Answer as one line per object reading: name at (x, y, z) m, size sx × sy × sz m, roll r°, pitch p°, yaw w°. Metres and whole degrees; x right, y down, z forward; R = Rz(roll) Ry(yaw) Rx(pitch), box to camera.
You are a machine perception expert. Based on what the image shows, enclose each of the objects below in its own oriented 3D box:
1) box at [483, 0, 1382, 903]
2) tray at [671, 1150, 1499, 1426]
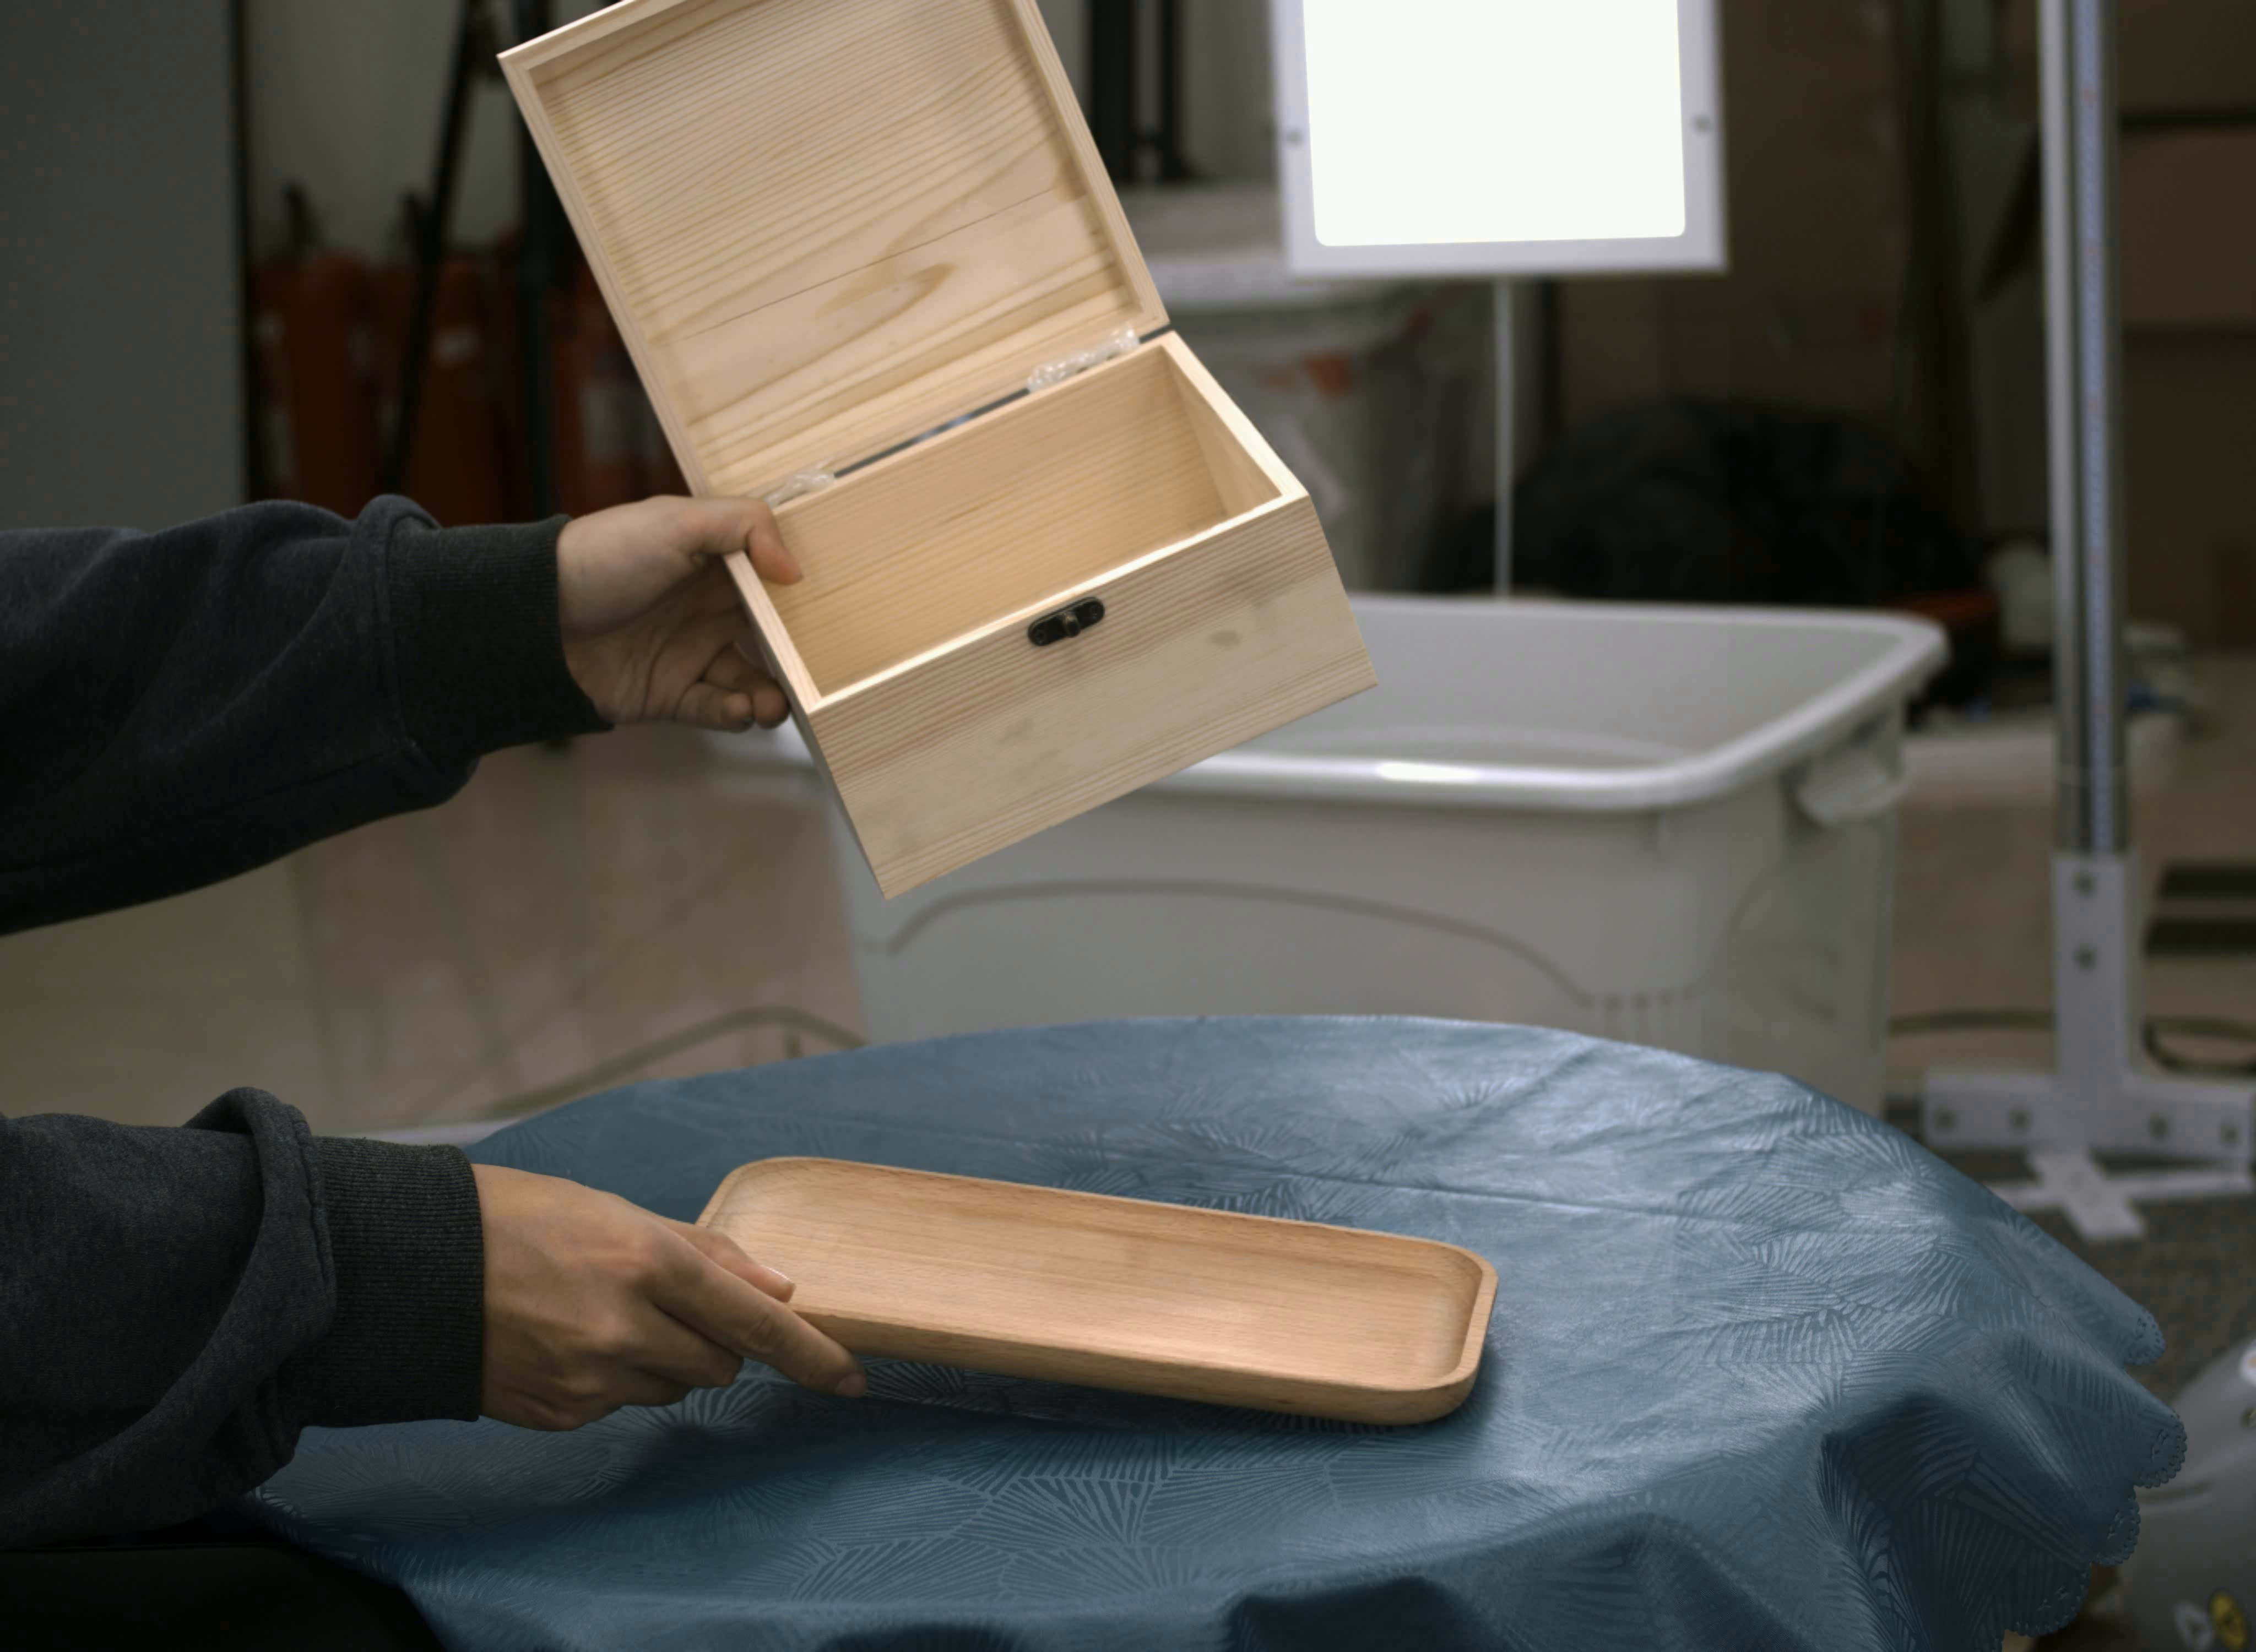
box at (-0.071, -0.159, 1.881) m, size 0.181 × 0.252 × 0.267 m, roll -27°, pitch 25°, yaw -3°
tray at (-0.012, 0.143, 1.710) m, size 0.252 × 0.023 × 0.129 m, roll 7°, pitch 16°, yaw 10°
